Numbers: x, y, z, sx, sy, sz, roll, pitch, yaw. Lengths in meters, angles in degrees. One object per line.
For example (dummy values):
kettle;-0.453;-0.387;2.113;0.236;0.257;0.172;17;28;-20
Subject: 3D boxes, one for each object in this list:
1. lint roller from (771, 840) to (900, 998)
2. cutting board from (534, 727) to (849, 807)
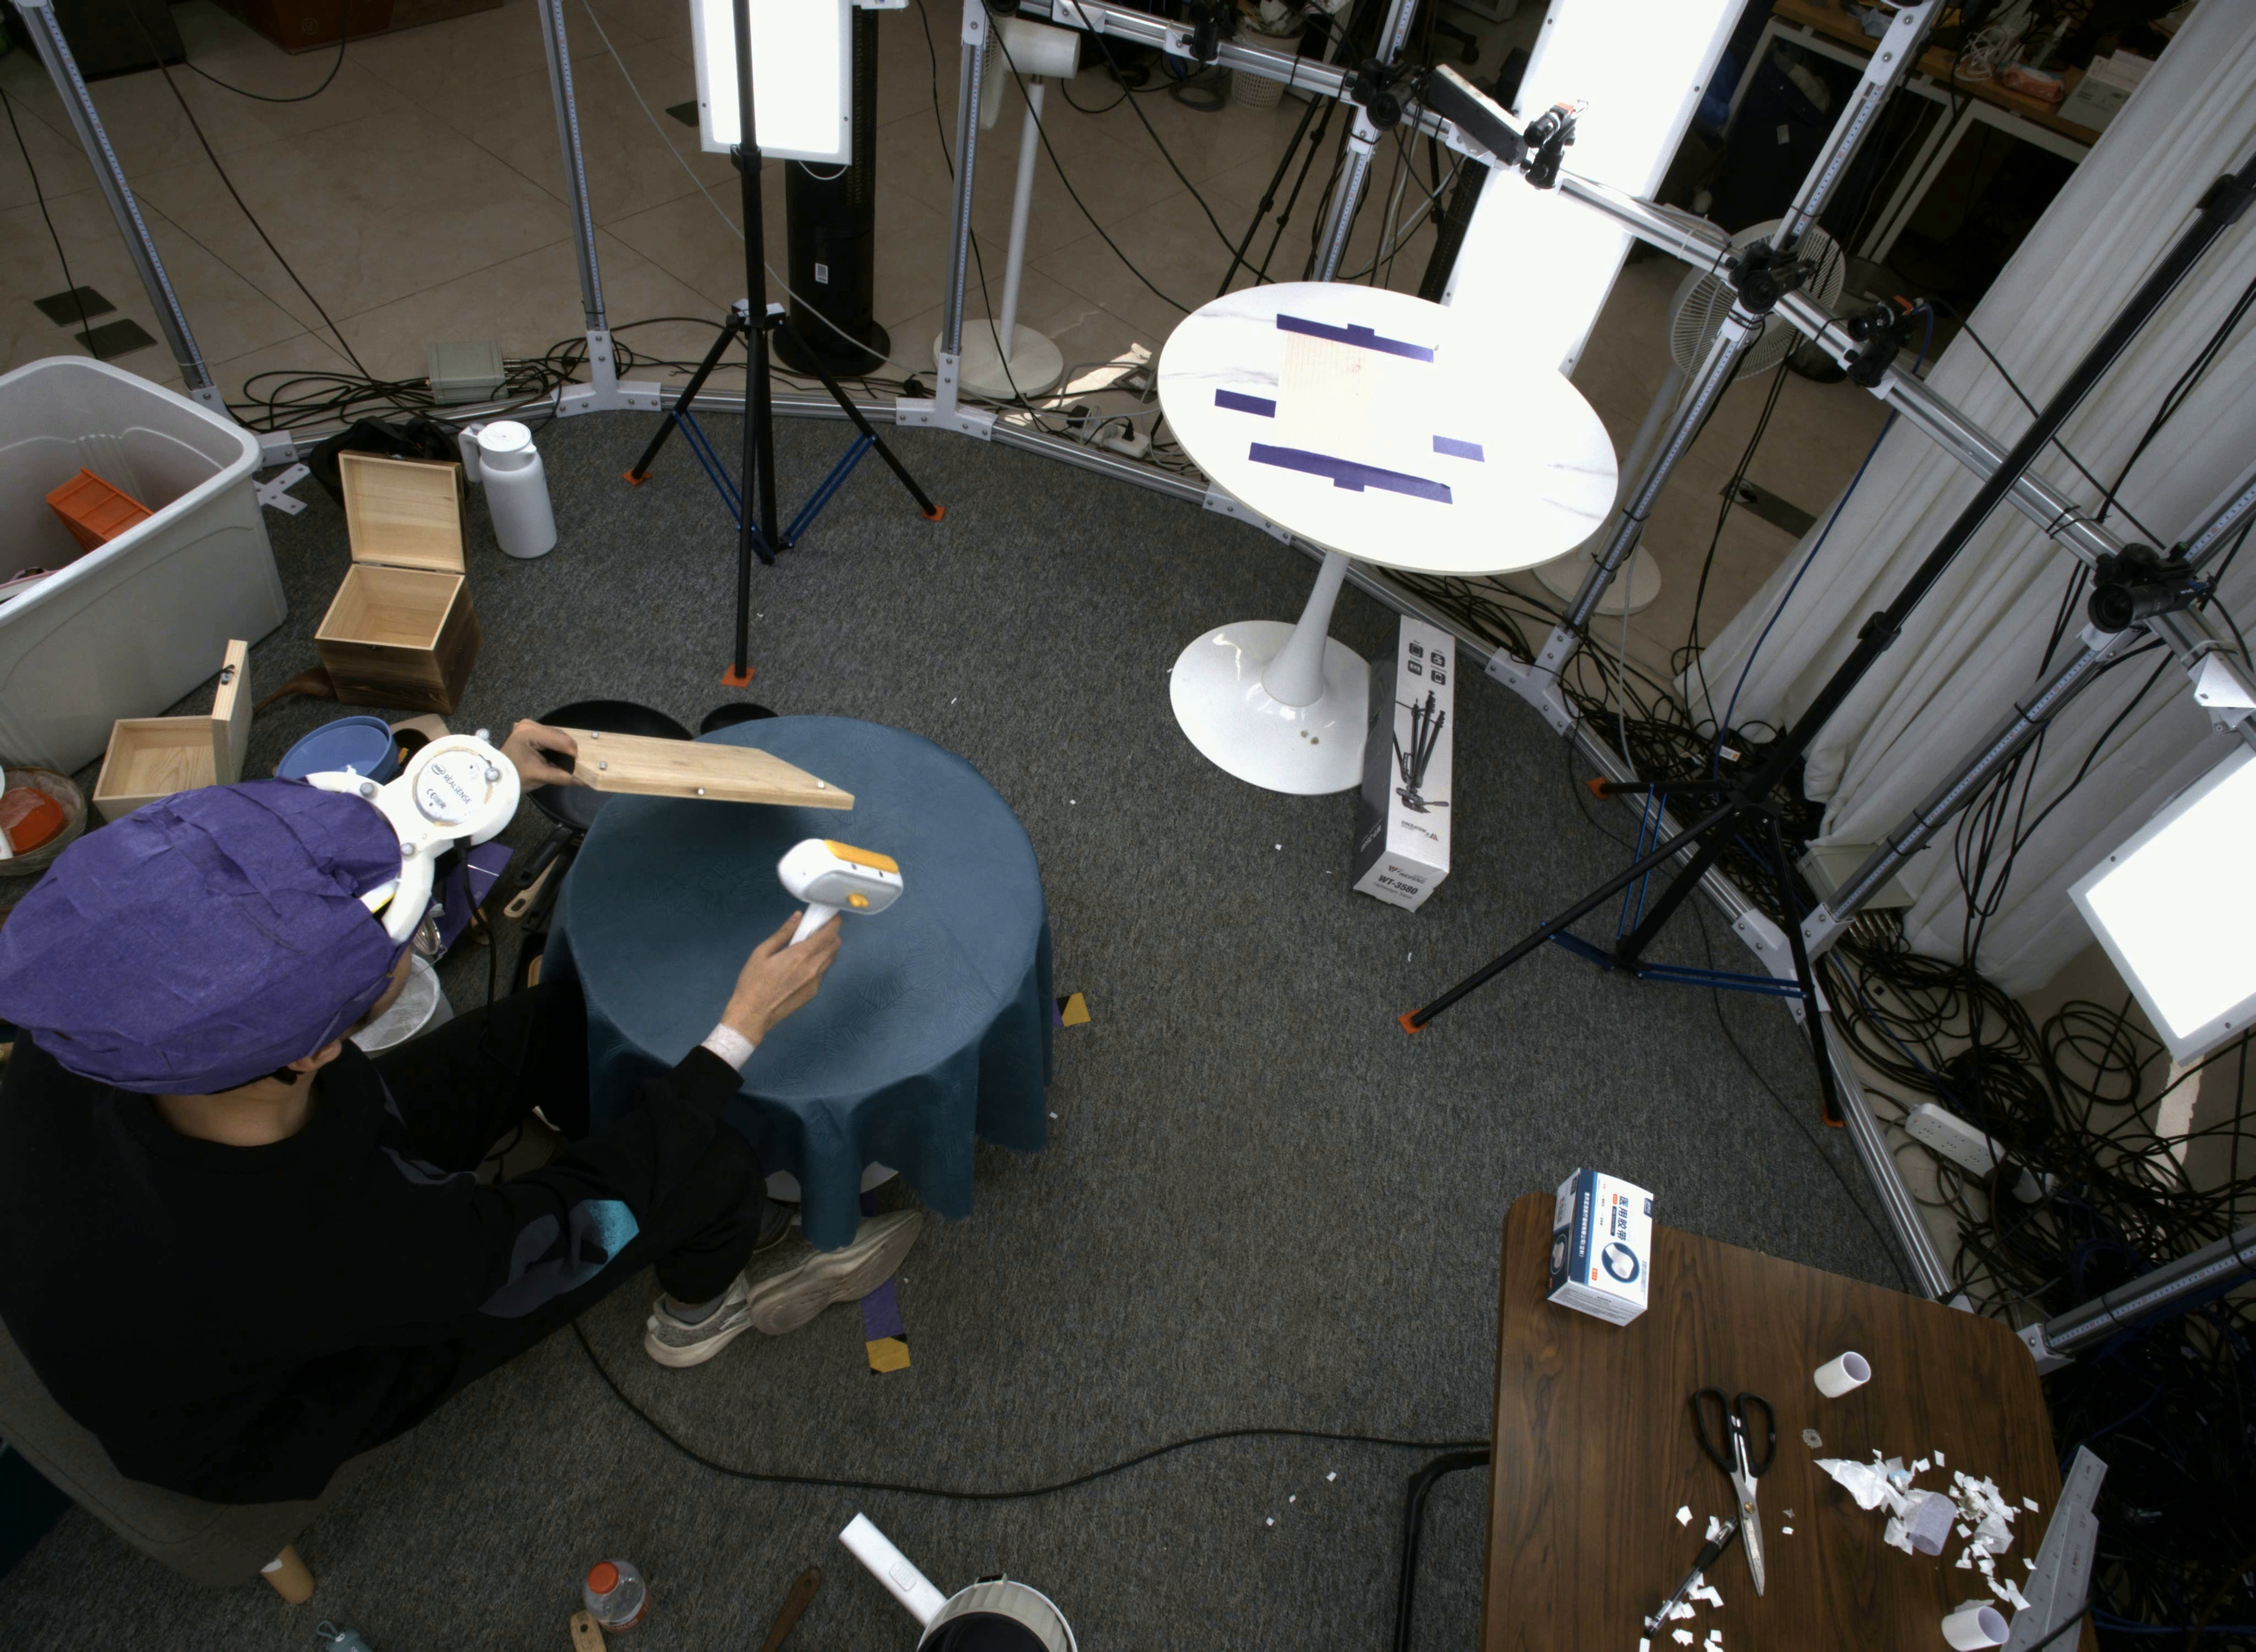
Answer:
lint roller;-0.361;0.107;1.499;0.073;0.196;0.193;42;98;16
cutting board;-0.545;-0.075;1.567;0.241;0.024;0.356;22;11;39
